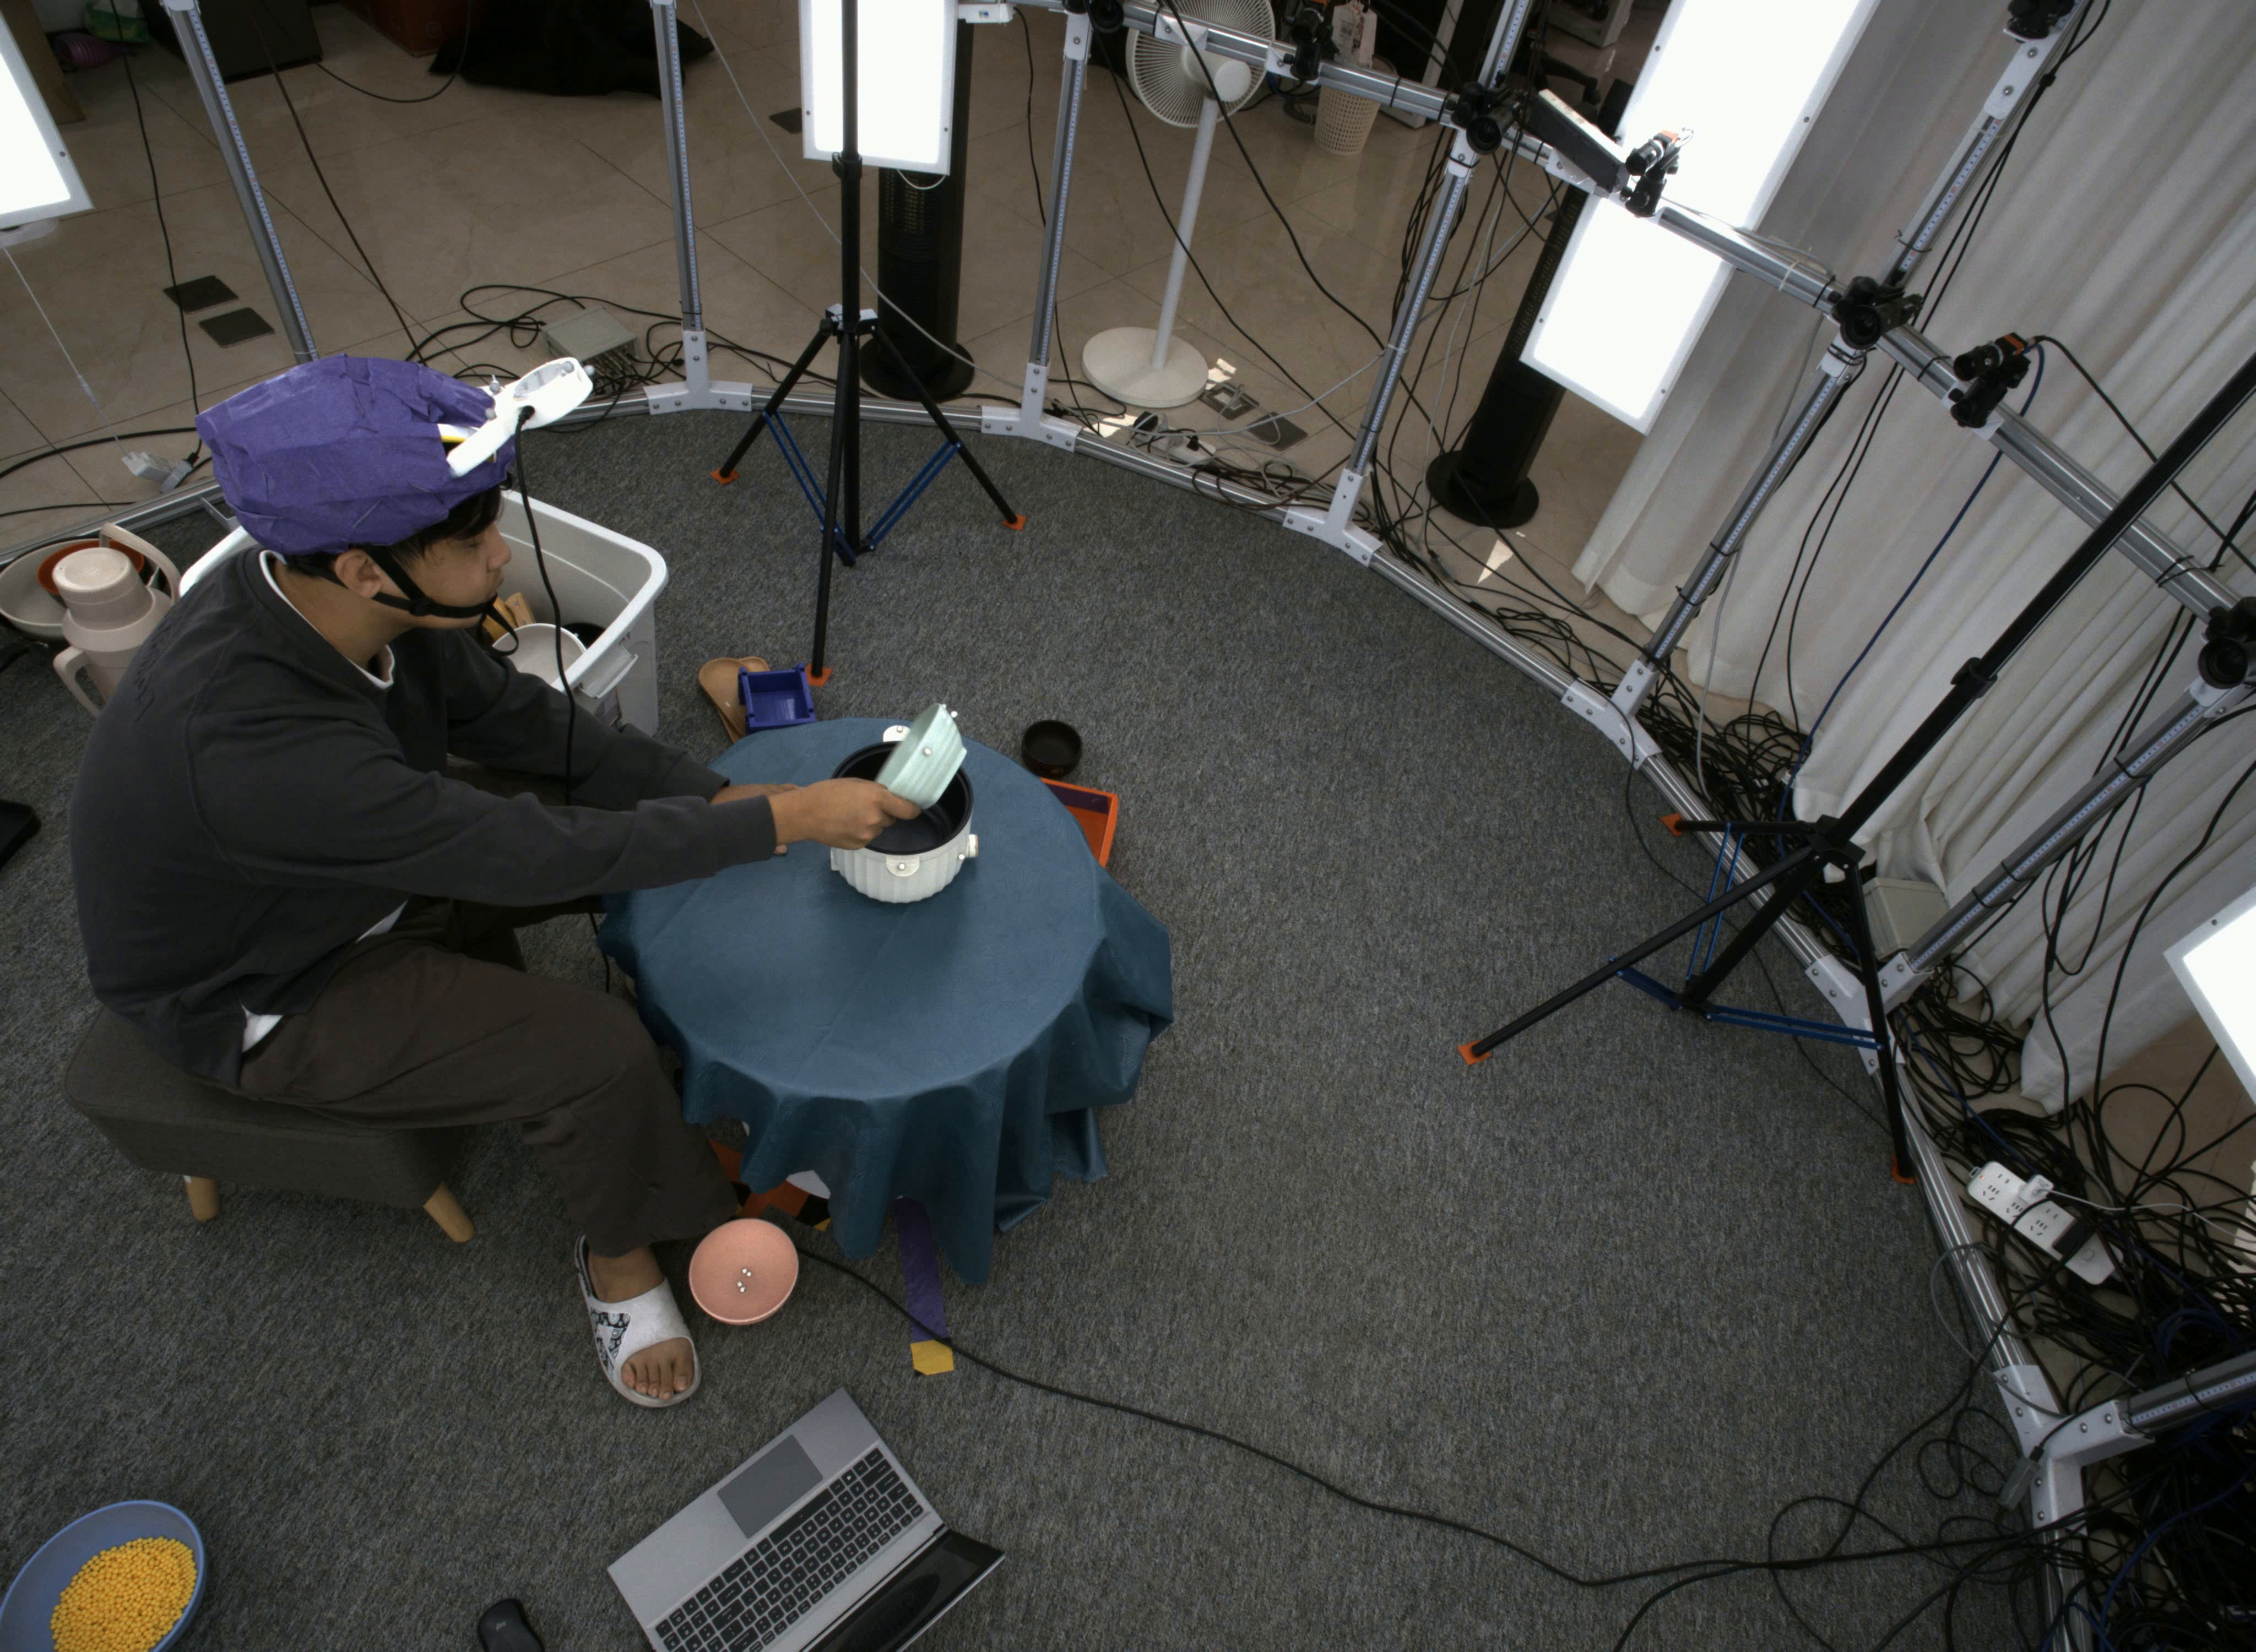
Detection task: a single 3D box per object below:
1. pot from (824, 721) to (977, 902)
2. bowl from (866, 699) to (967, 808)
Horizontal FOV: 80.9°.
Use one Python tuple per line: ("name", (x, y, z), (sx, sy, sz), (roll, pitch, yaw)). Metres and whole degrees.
("pot", (-0.289, -0.003, 1.665), (0.190, 0.146, 0.235), (-4, 56, -11))
("bowl", (-0.240, -0.074, 1.517), (0.060, 0.150, 0.149), (36, 47, -21))
